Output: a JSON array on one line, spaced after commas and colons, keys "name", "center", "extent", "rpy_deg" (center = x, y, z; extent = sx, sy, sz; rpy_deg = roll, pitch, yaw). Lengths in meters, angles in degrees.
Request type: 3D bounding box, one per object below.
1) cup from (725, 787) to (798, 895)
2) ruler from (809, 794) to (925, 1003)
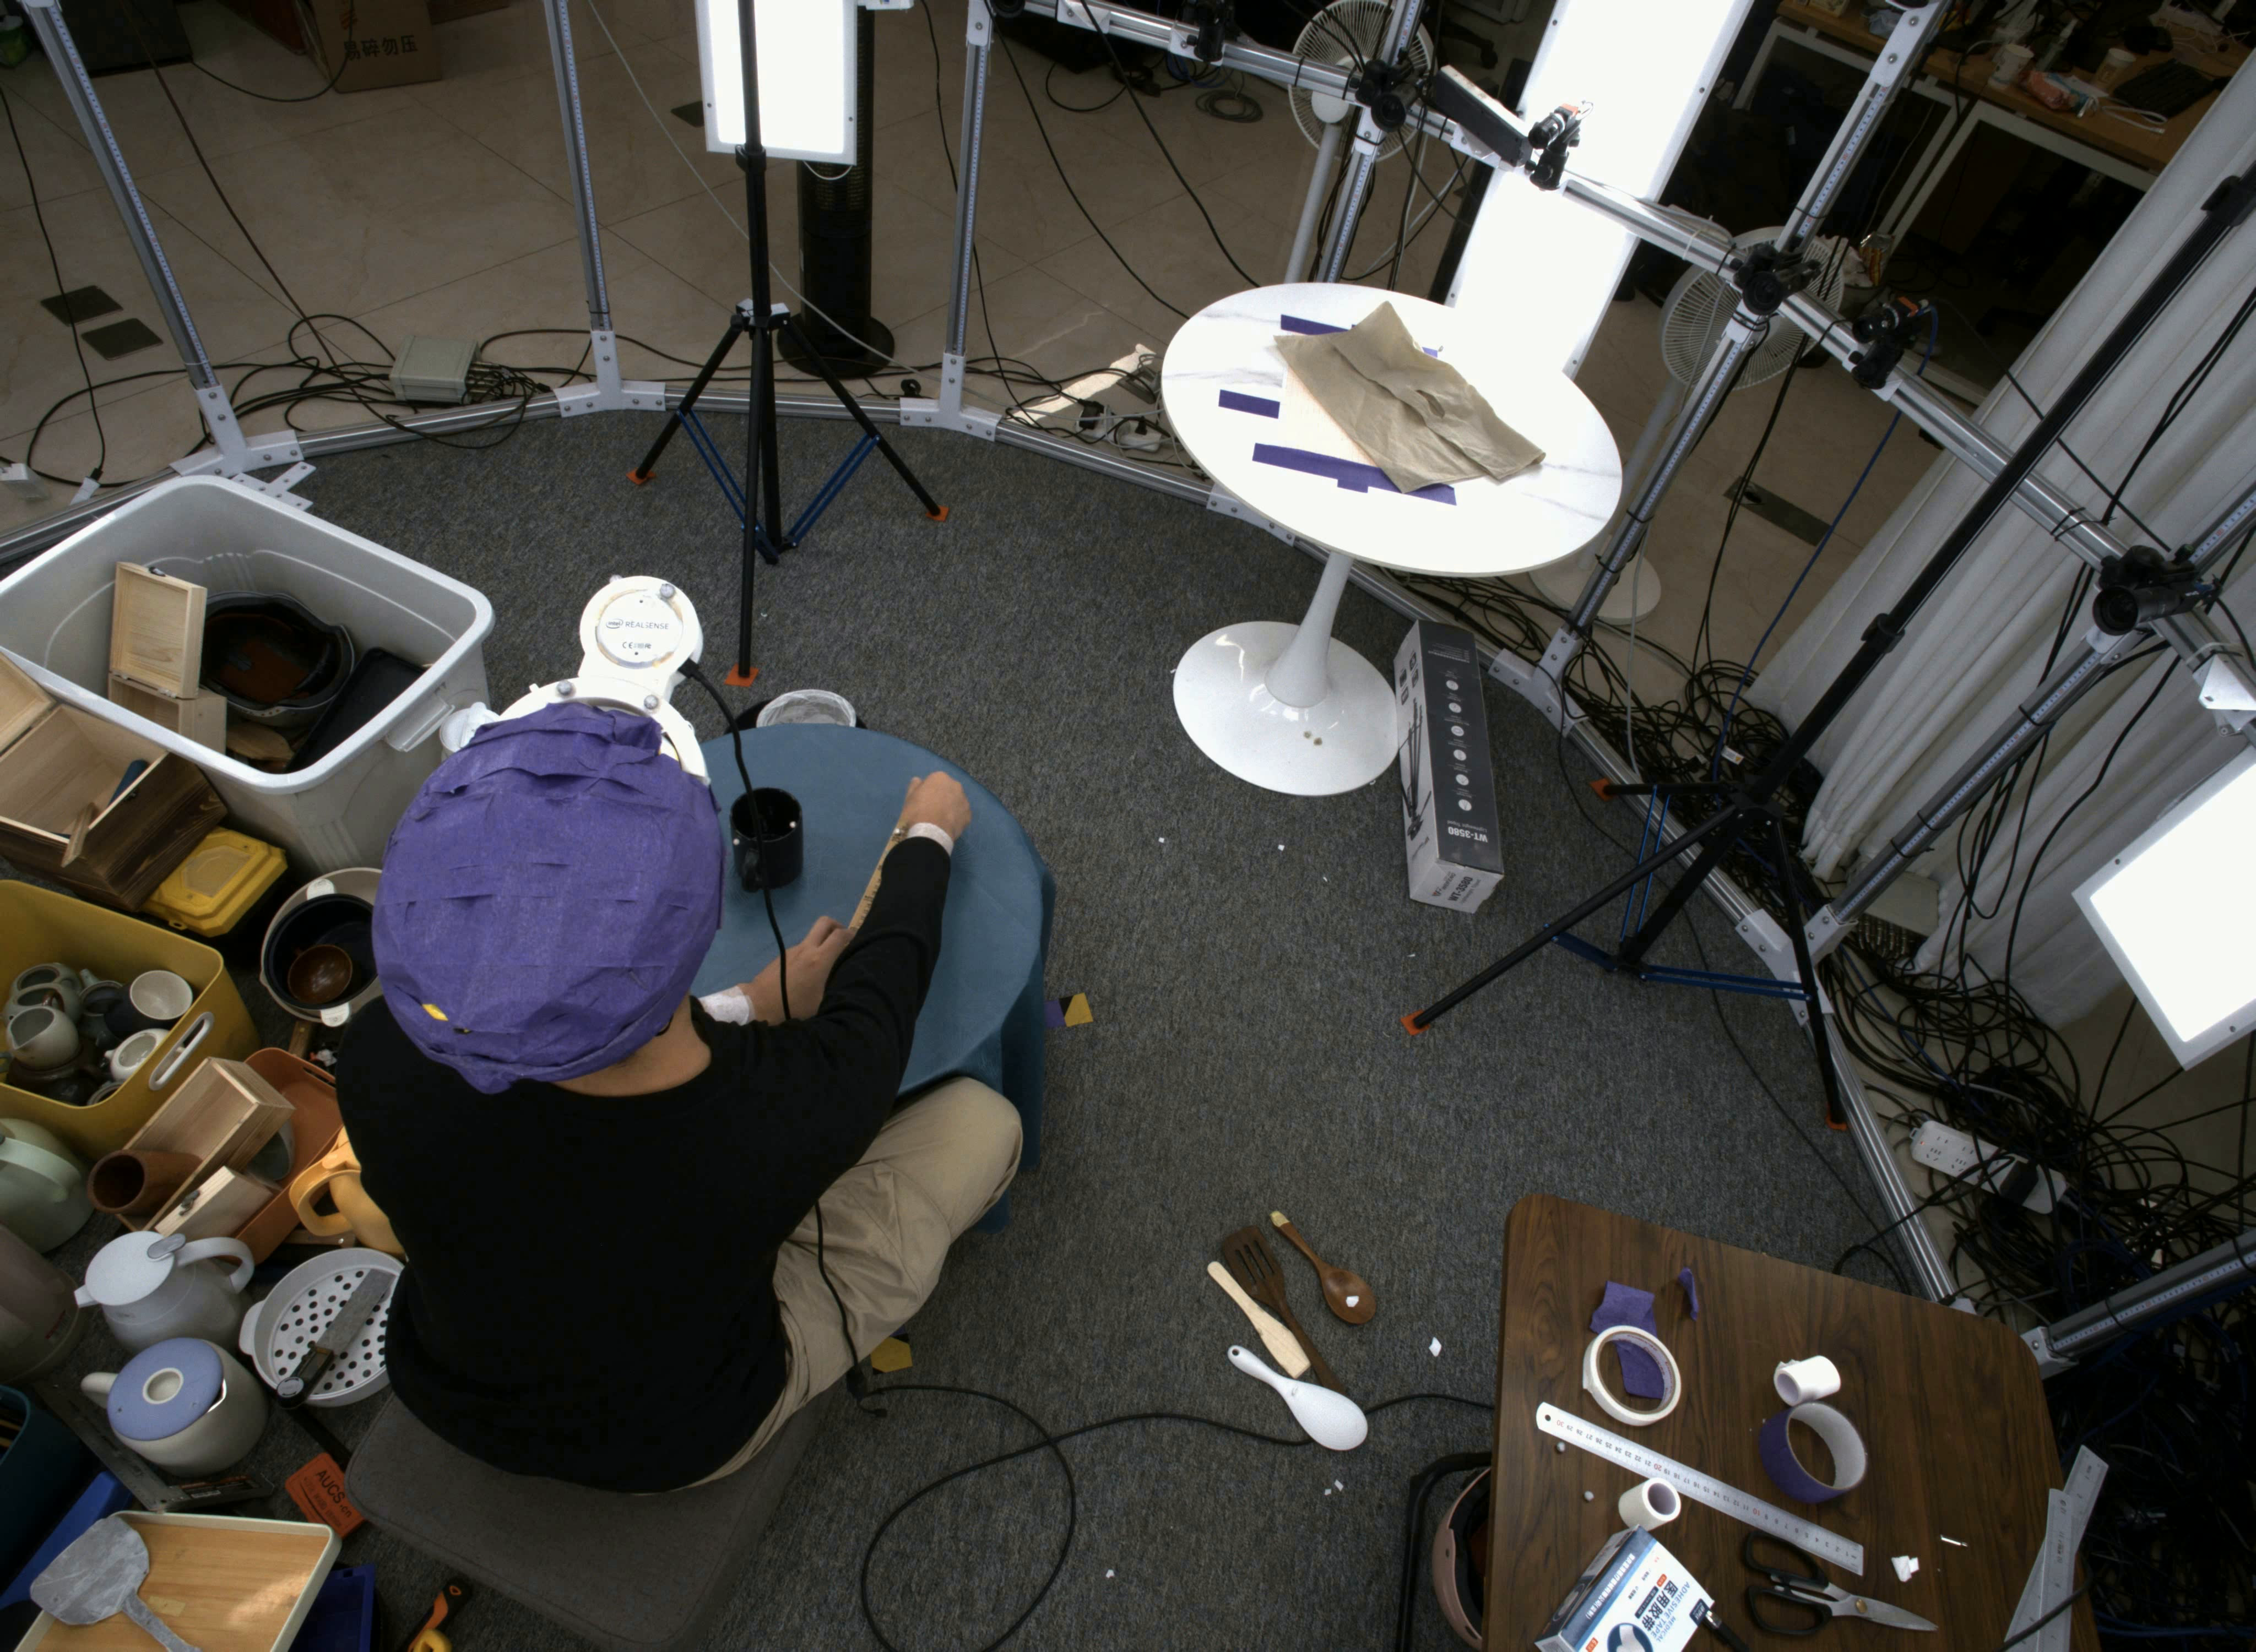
[{"name": "cup", "center": [-0.464, 0.029, 1.621], "extent": [0.088, 0.107, 0.122], "rpy_deg": [15, 52, -3]}, {"name": "ruler", "center": [-0.328, 0.081, 1.655], "extent": [0.027, 0.023, 0.328], "rpy_deg": [15, 53, 6]}]
